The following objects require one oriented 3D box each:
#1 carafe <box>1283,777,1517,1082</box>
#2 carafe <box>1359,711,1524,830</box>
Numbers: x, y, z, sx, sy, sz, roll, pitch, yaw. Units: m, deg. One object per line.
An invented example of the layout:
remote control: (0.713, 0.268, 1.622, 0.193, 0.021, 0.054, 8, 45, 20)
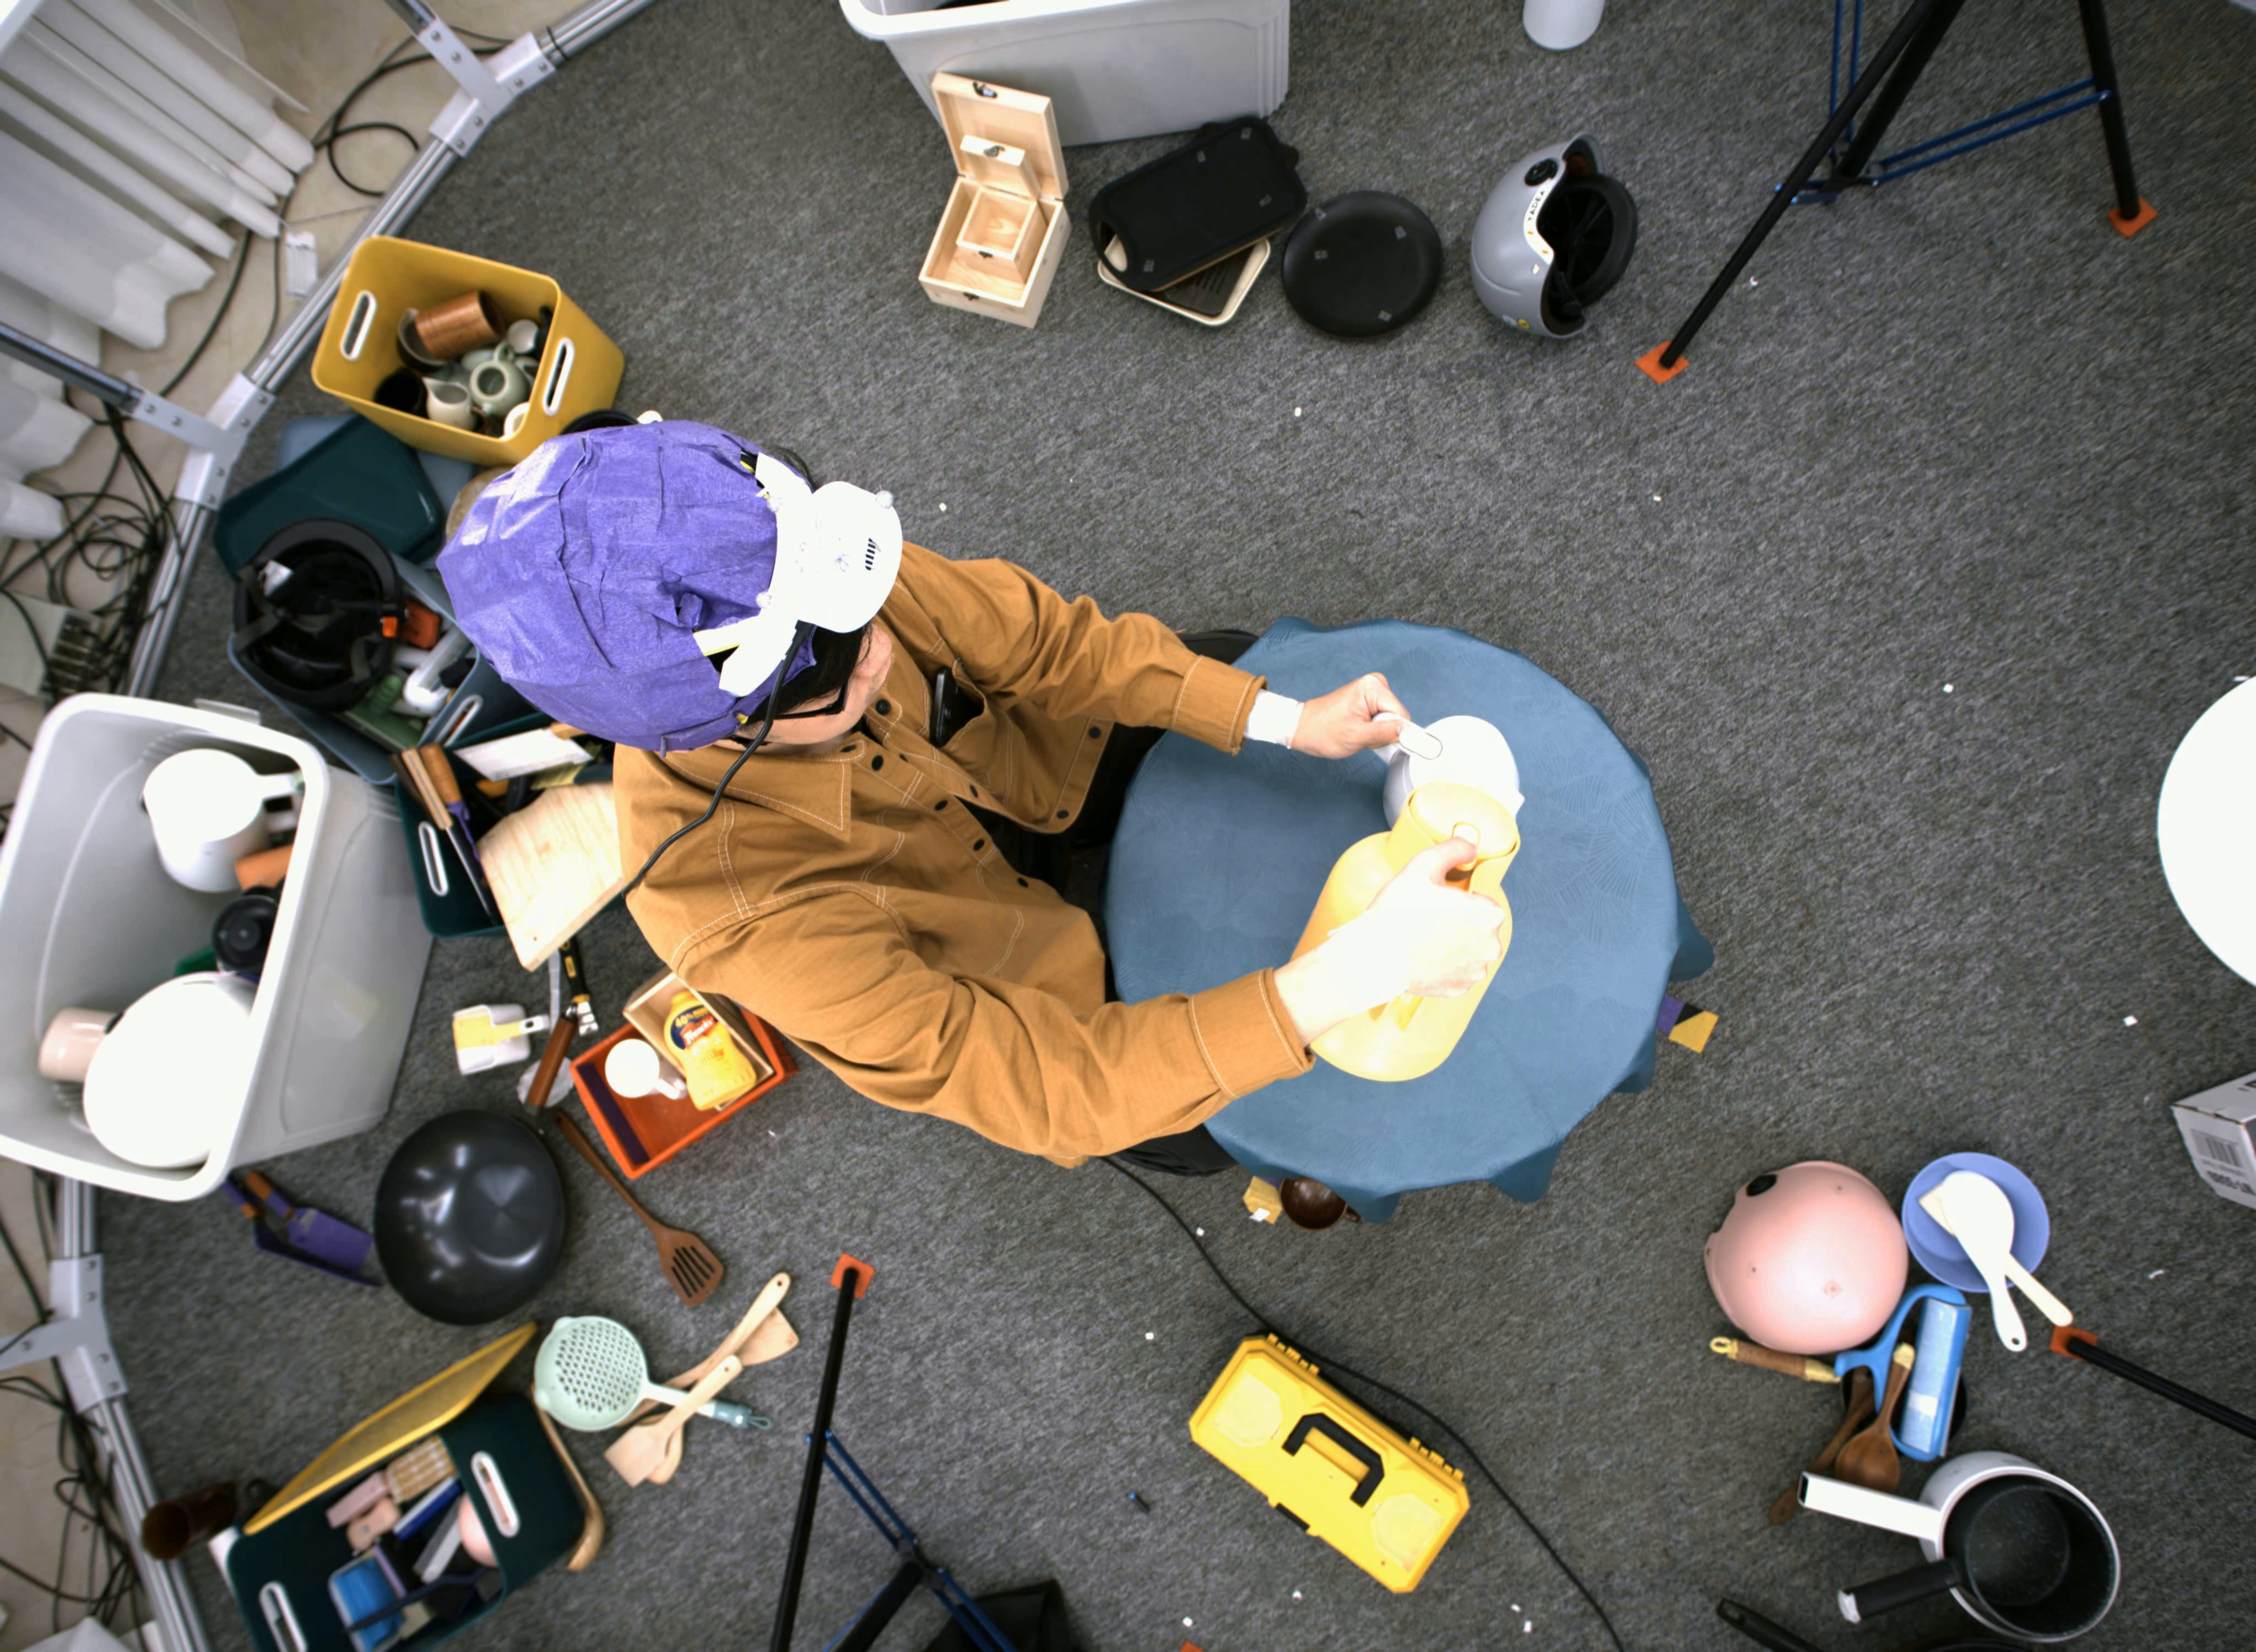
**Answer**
carafe: (0.233, 0.094, 1.161, 0.163, 0.197, 0.267, 20, 128, 6)
carafe: (0.299, -0.051, 1.336, 0.167, 0.249, 0.133, 34, 92, 12)
